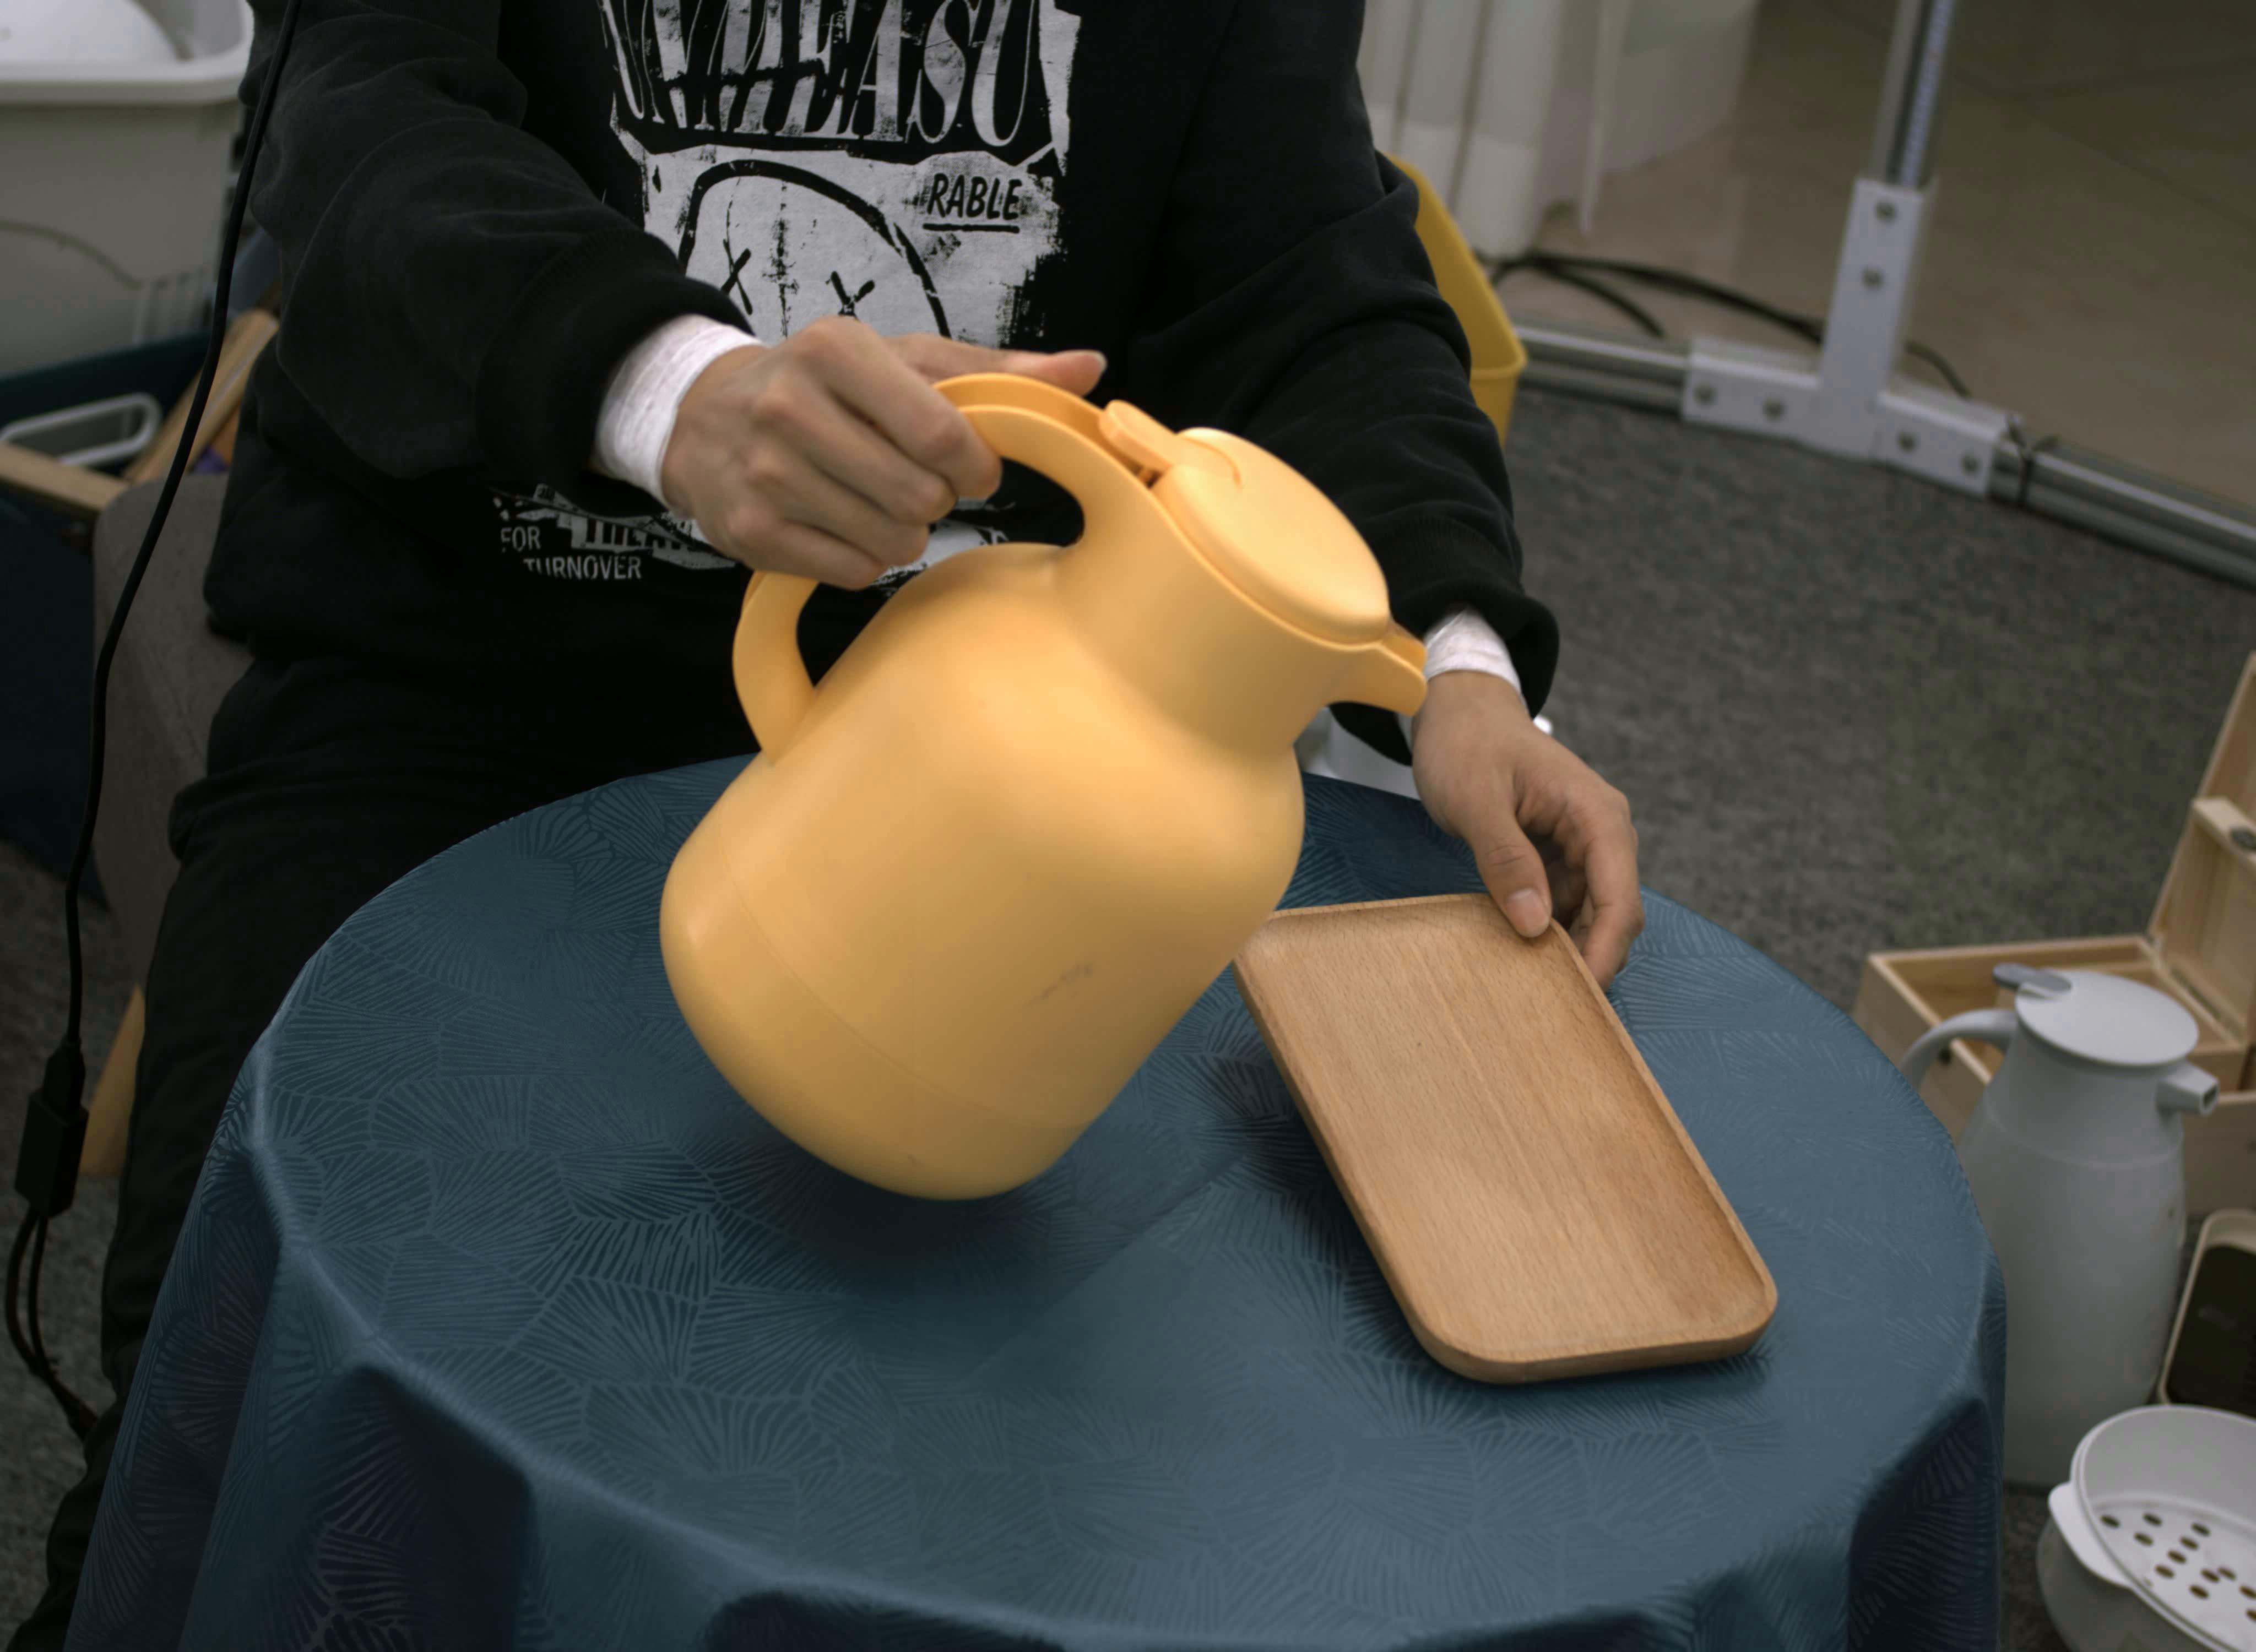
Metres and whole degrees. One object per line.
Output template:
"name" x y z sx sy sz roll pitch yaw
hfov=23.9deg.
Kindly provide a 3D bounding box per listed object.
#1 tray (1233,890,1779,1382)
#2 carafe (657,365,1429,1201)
"tray" 0.125 0.103 1.820 0.130 0.023 0.253 -2 34 -17
"carafe" -0.041 -0.023 1.719 0.201 0.260 0.164 36 22 -12
